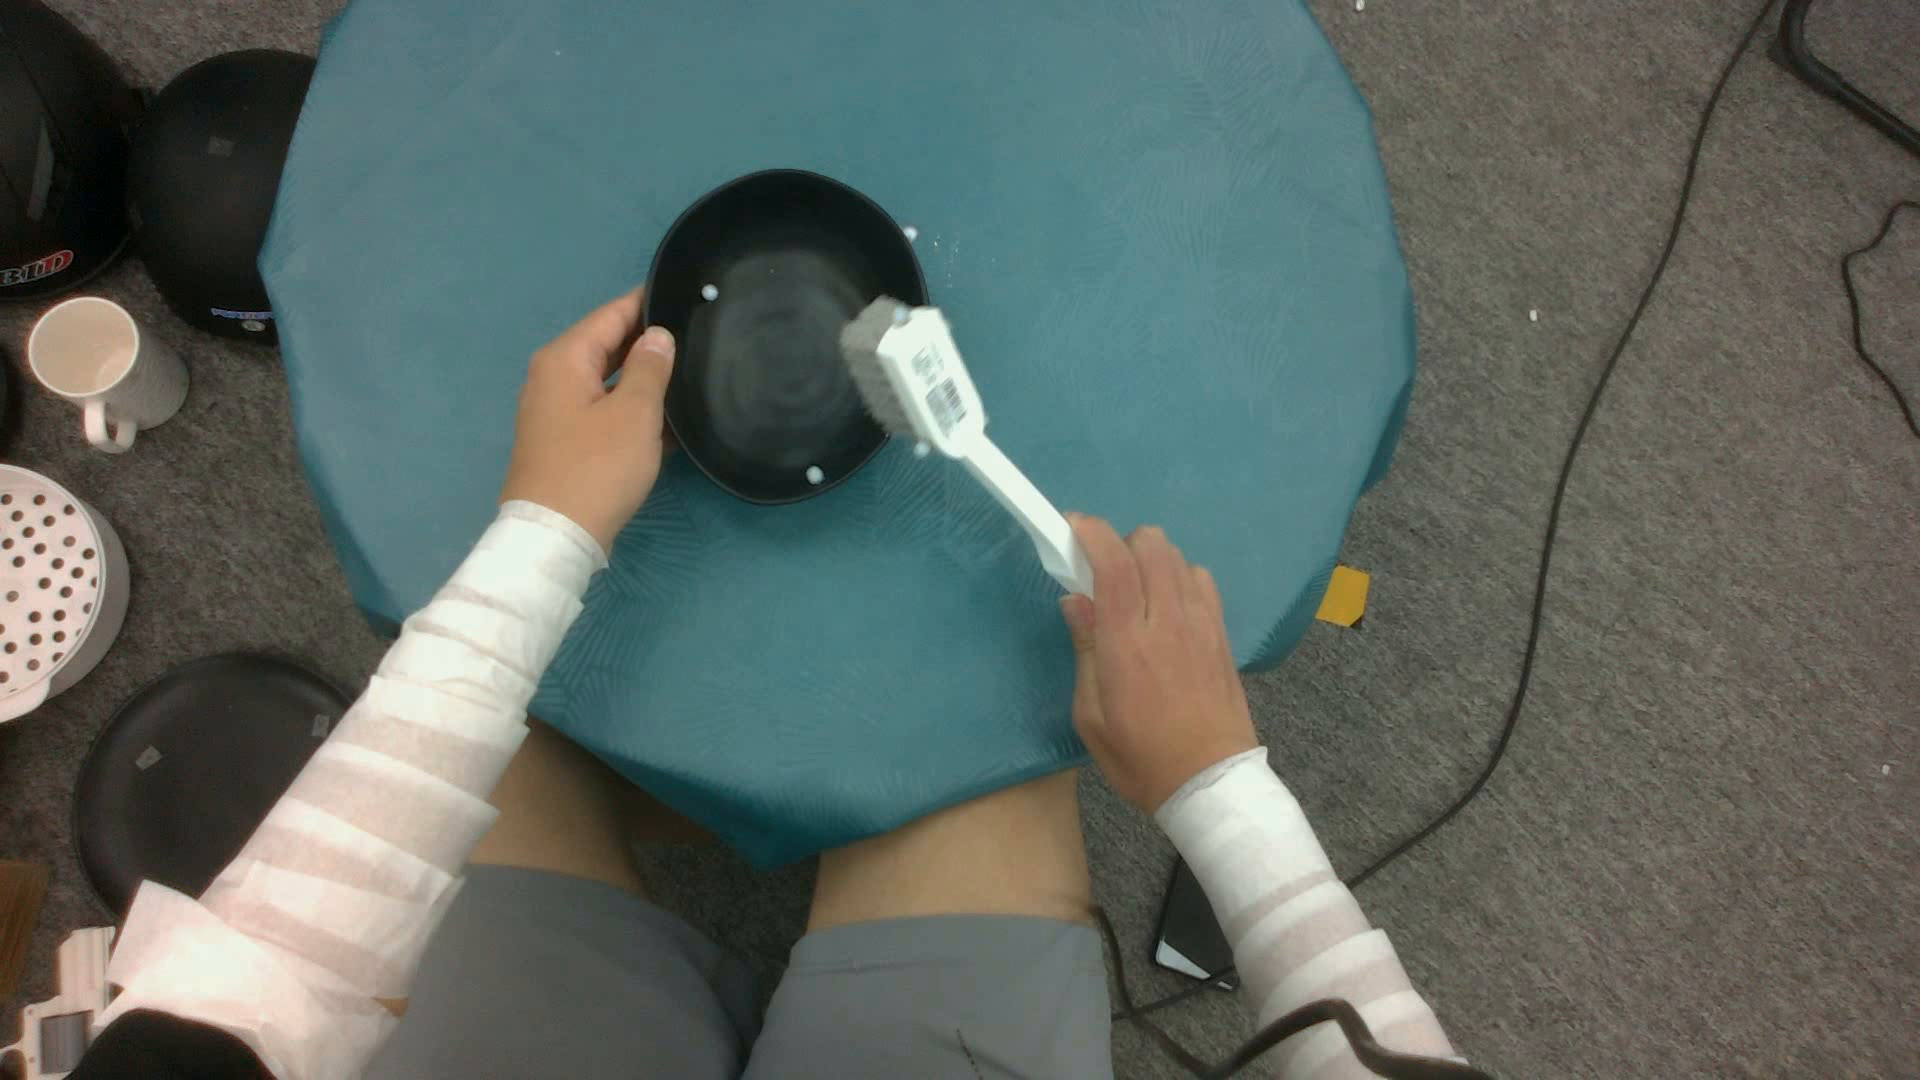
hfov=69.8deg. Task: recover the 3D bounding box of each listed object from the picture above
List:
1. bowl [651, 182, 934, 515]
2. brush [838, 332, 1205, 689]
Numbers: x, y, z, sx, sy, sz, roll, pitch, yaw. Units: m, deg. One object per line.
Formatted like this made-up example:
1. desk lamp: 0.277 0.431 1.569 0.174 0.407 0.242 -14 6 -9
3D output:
1. bowl: -0.084 -0.092 0.702 0.137 0.066 0.170 5 79 -5
2. brush: 0.032 -0.008 0.673 0.243 0.050 0.034 46 57 -21
